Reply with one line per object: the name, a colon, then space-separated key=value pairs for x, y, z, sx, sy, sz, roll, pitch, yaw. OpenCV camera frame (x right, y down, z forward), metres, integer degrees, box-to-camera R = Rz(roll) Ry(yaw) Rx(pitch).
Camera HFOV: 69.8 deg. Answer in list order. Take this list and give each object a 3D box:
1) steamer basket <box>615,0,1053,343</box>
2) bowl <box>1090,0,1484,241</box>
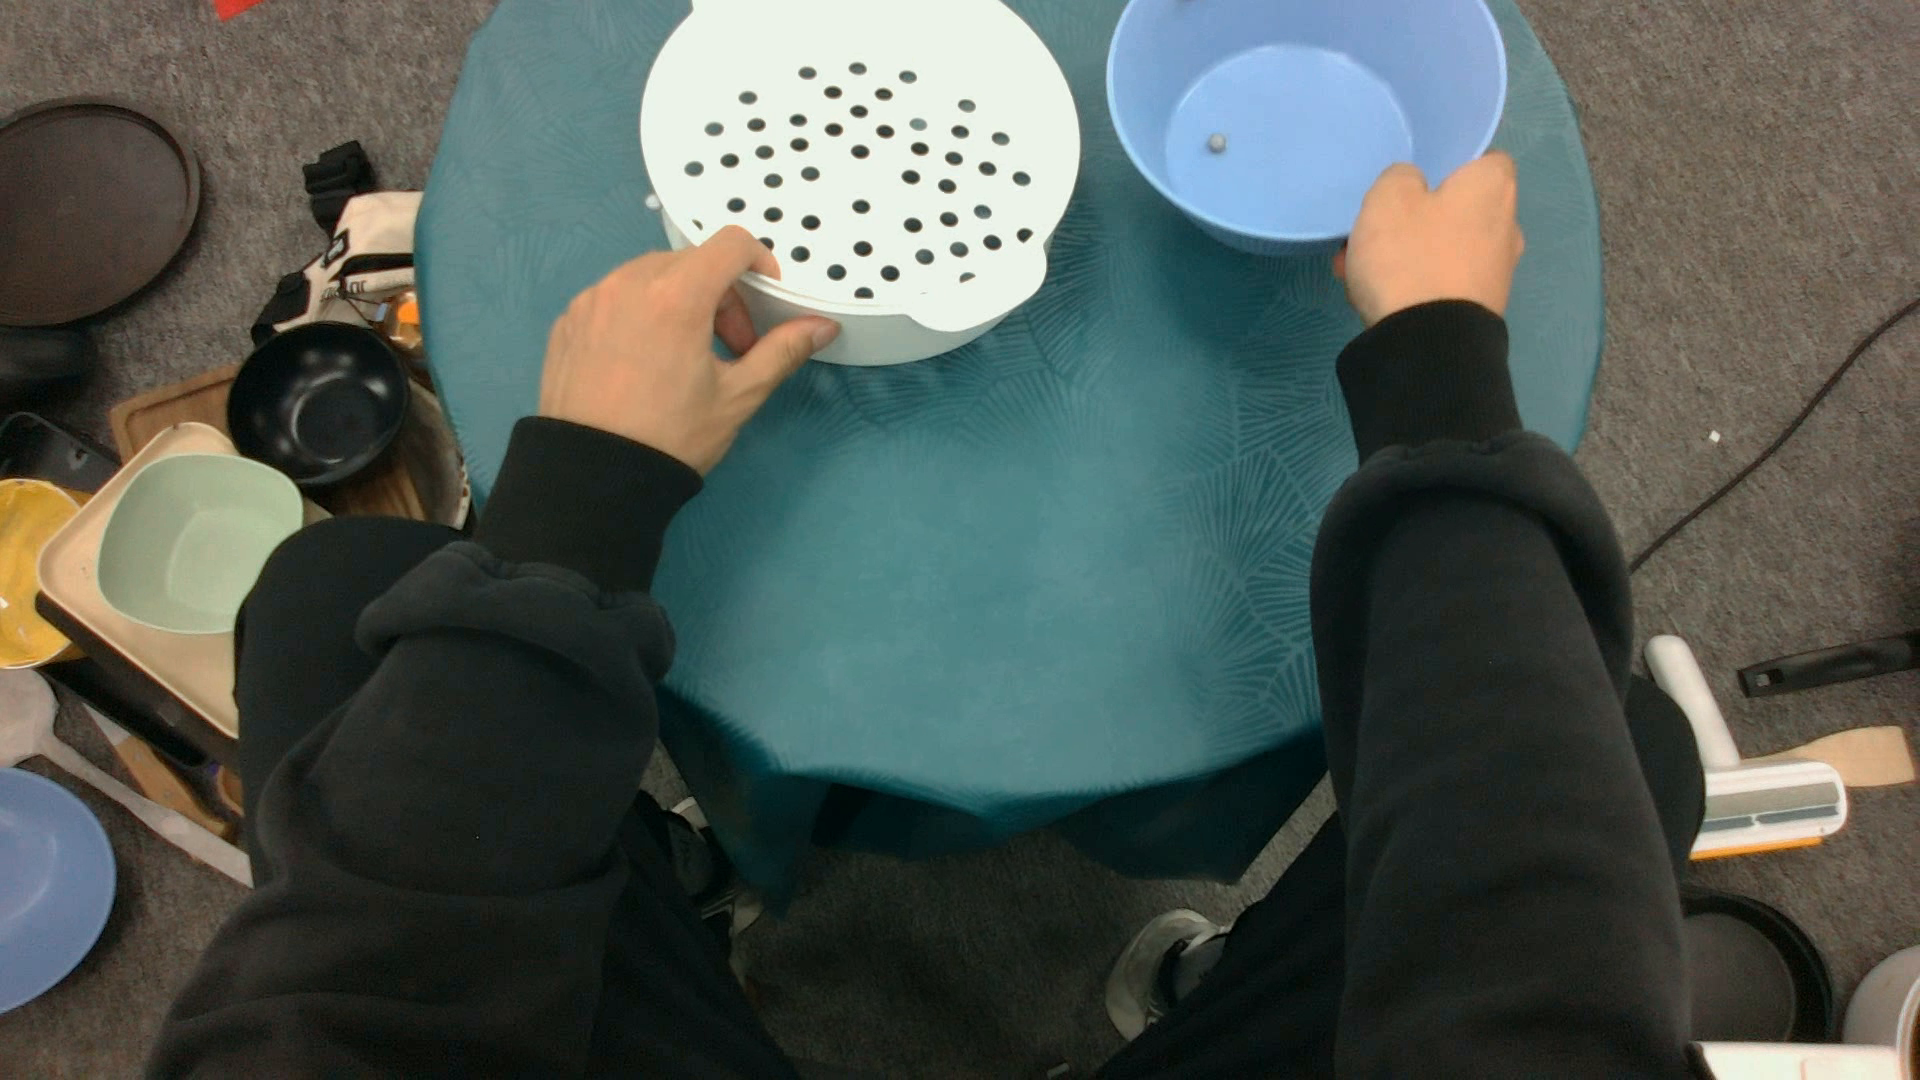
steamer basket: x=-0.059 y=-0.188 z=0.661 sx=0.202 sy=0.069 sz=0.231 roll=-30 pitch=71 yaw=-18
bowl: x=0.150 y=-0.209 z=0.652 sx=0.176 sy=0.070 sz=0.176 roll=-2 pitch=70 yaw=5
